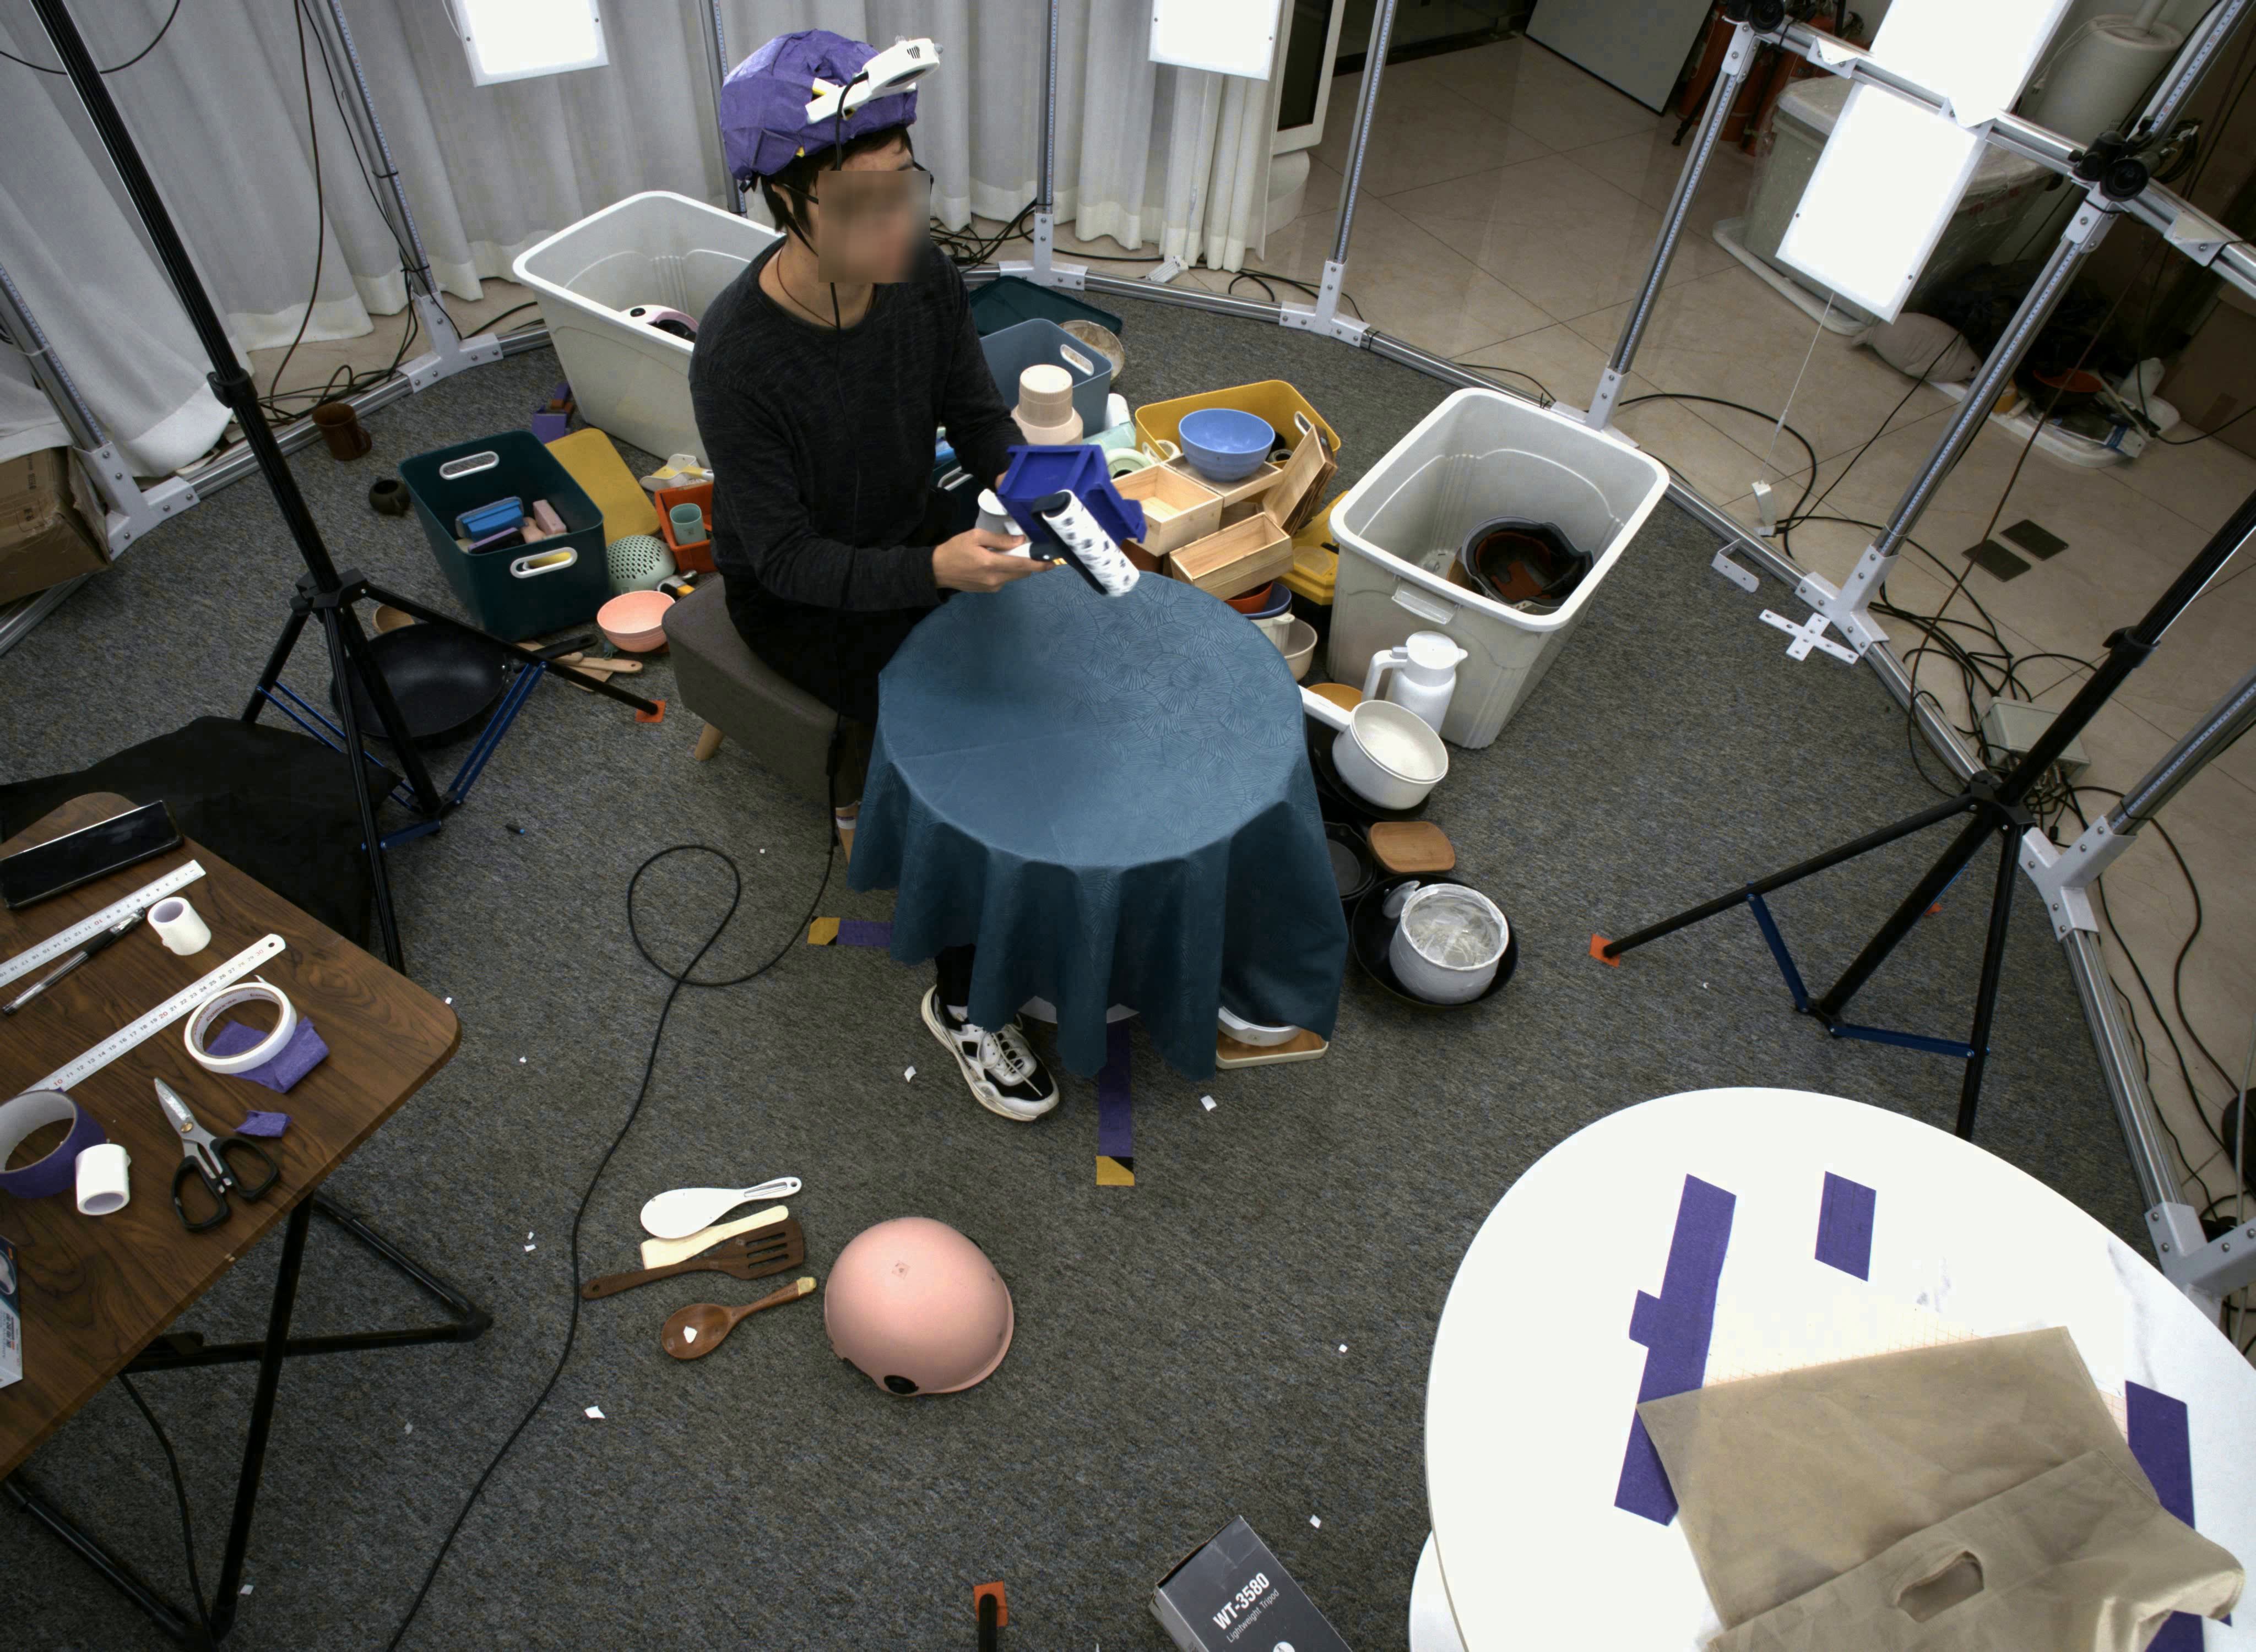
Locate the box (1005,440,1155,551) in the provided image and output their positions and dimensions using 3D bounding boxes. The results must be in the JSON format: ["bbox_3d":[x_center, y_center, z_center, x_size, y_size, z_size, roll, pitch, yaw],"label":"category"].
[{"bbox_3d":[-0.060,-0.423,1.665,0.180,0.122,0.083,7,65,35],"label":"box"}]

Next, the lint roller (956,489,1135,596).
[{"bbox_3d":[-0.131,-0.354,1.687,0.248,0.173,0.051,-2,61,36],"label":"lint roller"}]
